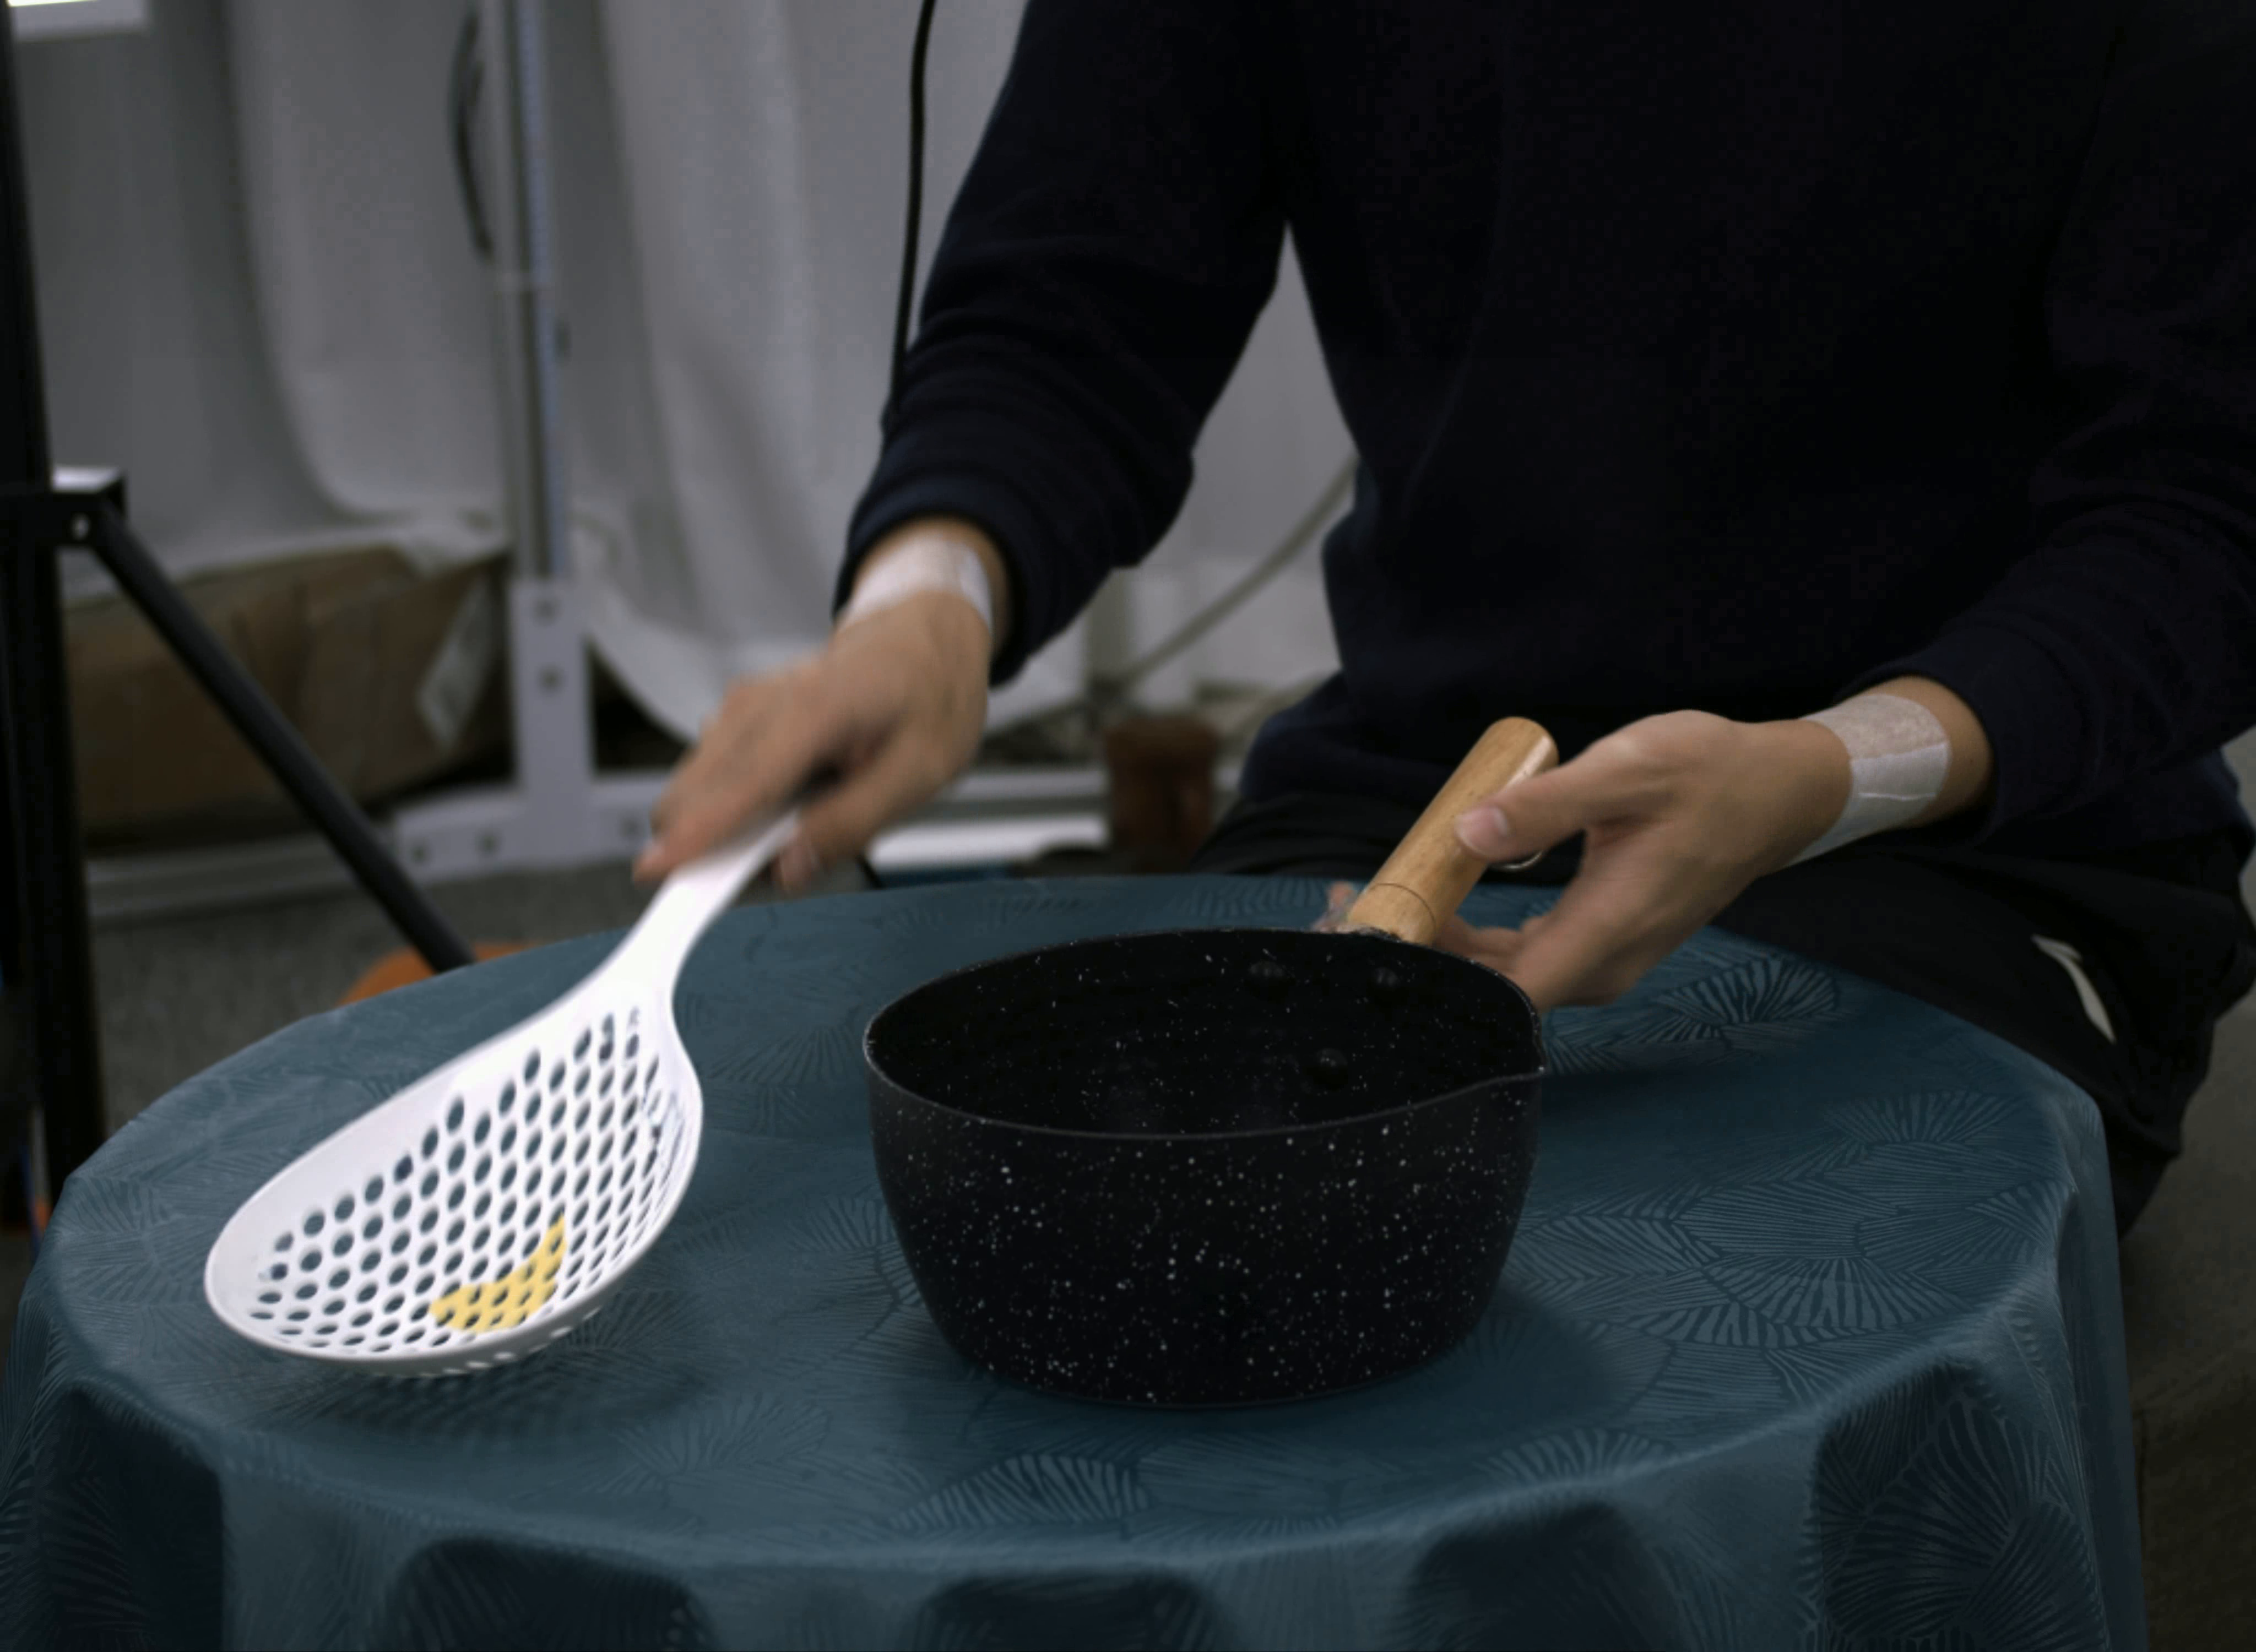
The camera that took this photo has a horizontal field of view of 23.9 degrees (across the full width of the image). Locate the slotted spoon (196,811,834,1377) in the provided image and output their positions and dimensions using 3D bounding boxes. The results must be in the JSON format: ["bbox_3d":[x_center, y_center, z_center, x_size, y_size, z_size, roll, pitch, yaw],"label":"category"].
[{"bbox_3d":[-0.148,0.066,1.550,0.138,0.050,0.346,-4,30,23],"label":"slotted spoon"}]

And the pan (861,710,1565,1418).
[{"bbox_3d":[0.053,0.062,1.514,0.210,0.108,0.338,4,18,24],"label":"pan"}]
